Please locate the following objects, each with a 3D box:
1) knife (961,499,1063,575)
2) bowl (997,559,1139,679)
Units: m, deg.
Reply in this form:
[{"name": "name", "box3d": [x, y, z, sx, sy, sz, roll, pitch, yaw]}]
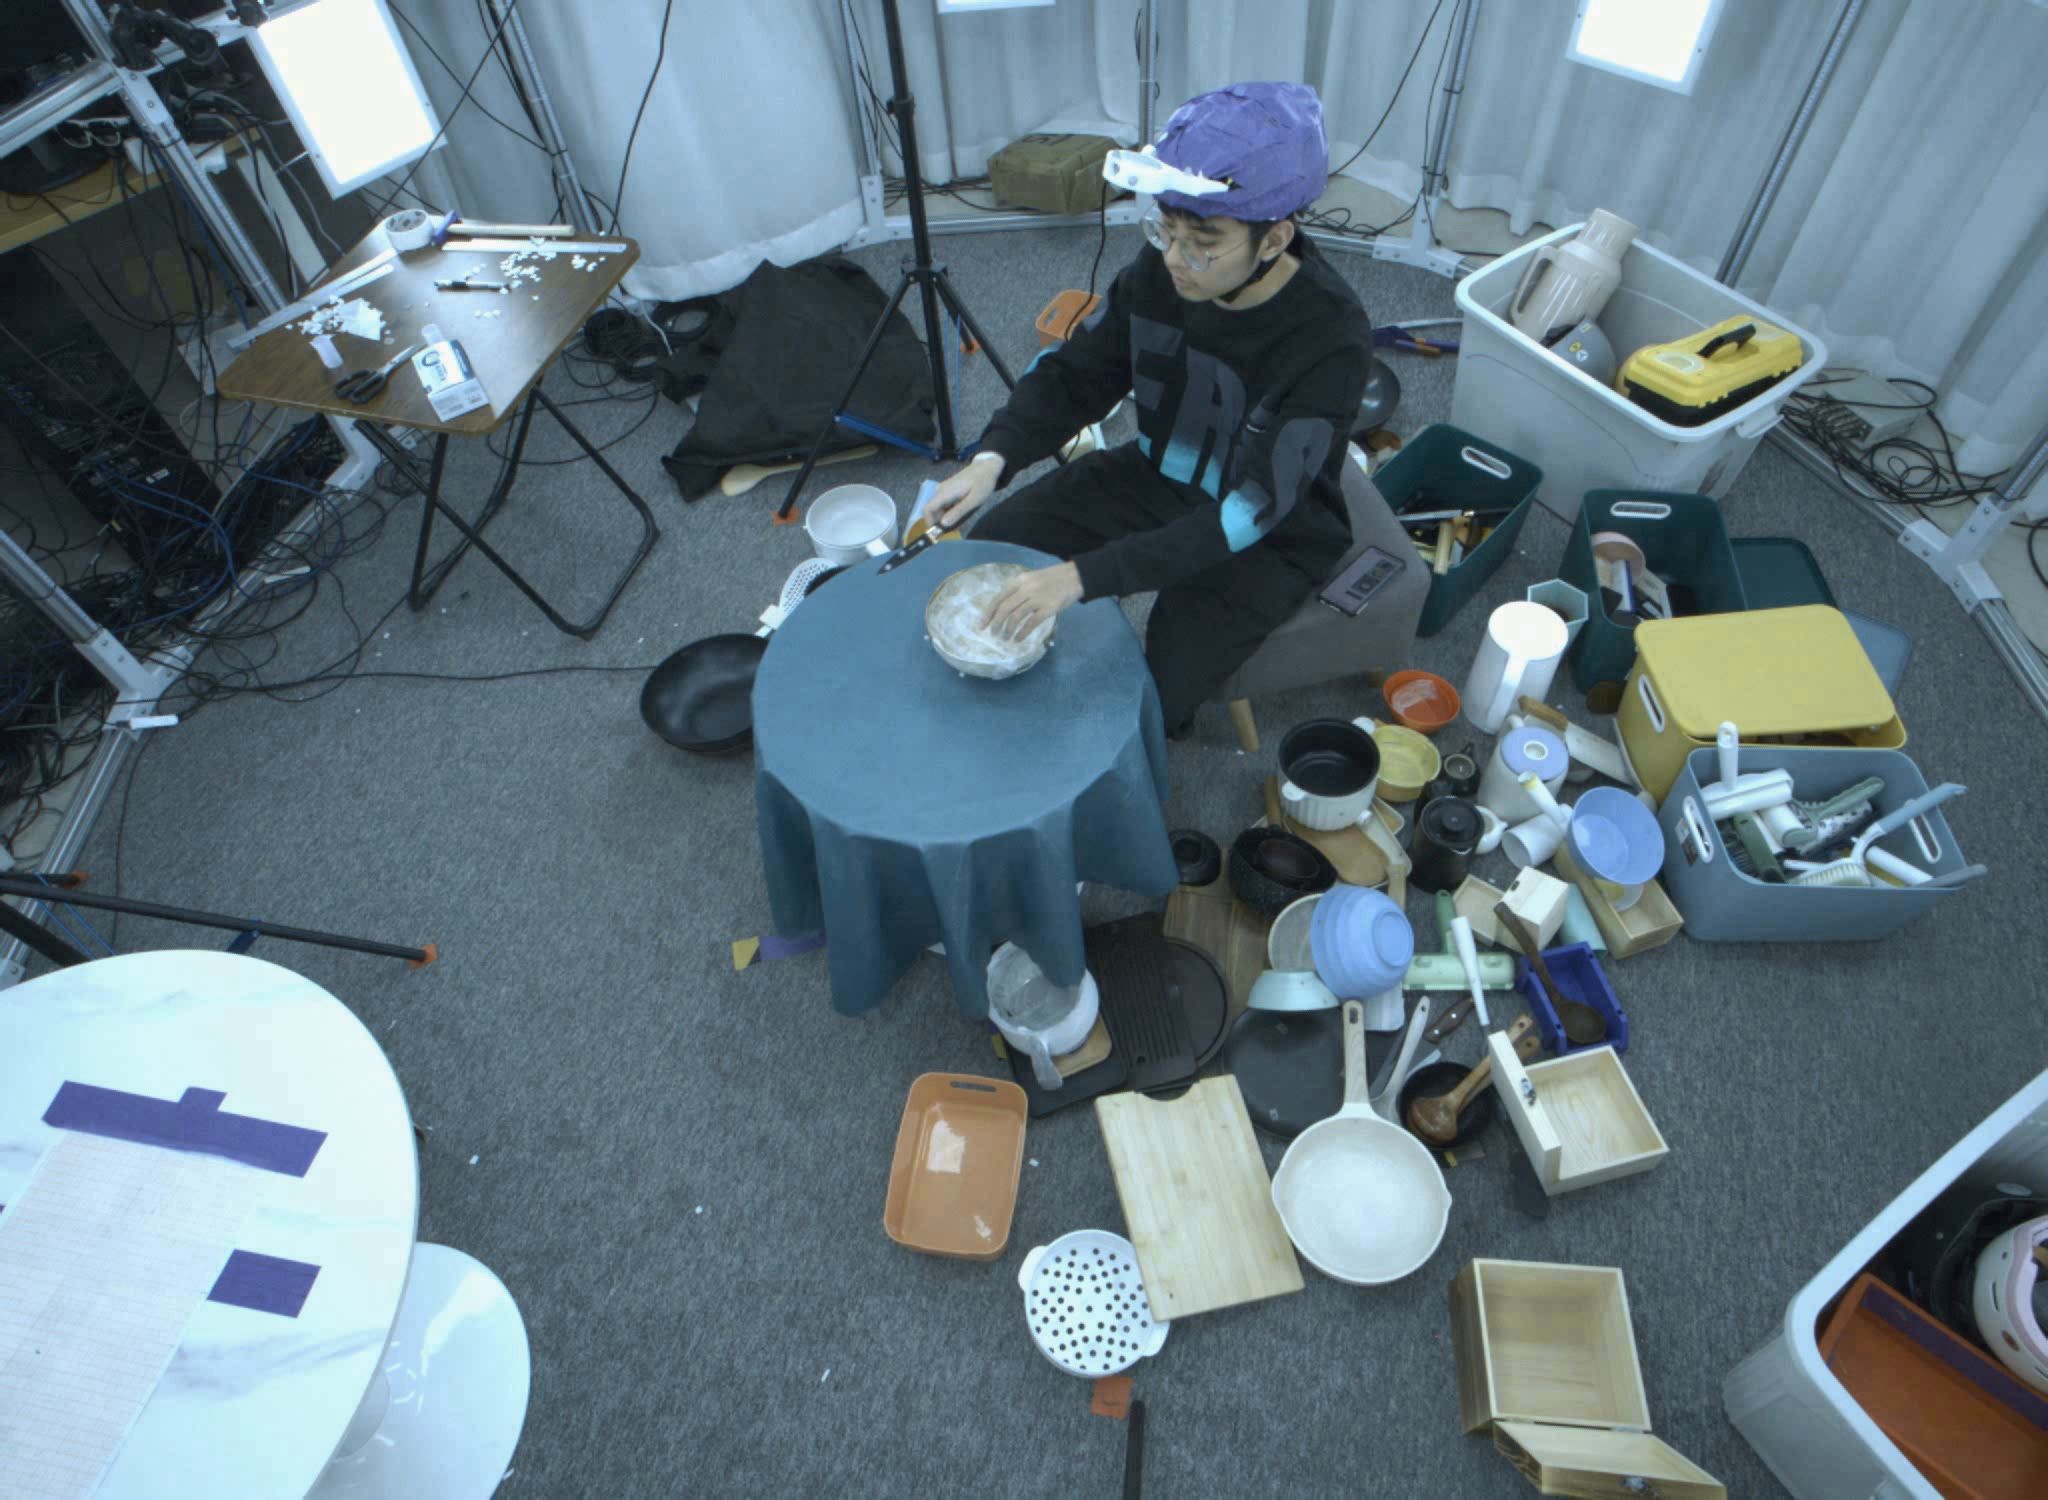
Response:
[{"name": "knife", "box3d": [-0.019, -0.317, 1.812, 0.026, 0.017, 0.227, 48, 59, 5]}, {"name": "bowl", "box3d": [0.068, -0.182, 1.855, 0.214, 0.096, 0.212, -2, 54, 3]}]
